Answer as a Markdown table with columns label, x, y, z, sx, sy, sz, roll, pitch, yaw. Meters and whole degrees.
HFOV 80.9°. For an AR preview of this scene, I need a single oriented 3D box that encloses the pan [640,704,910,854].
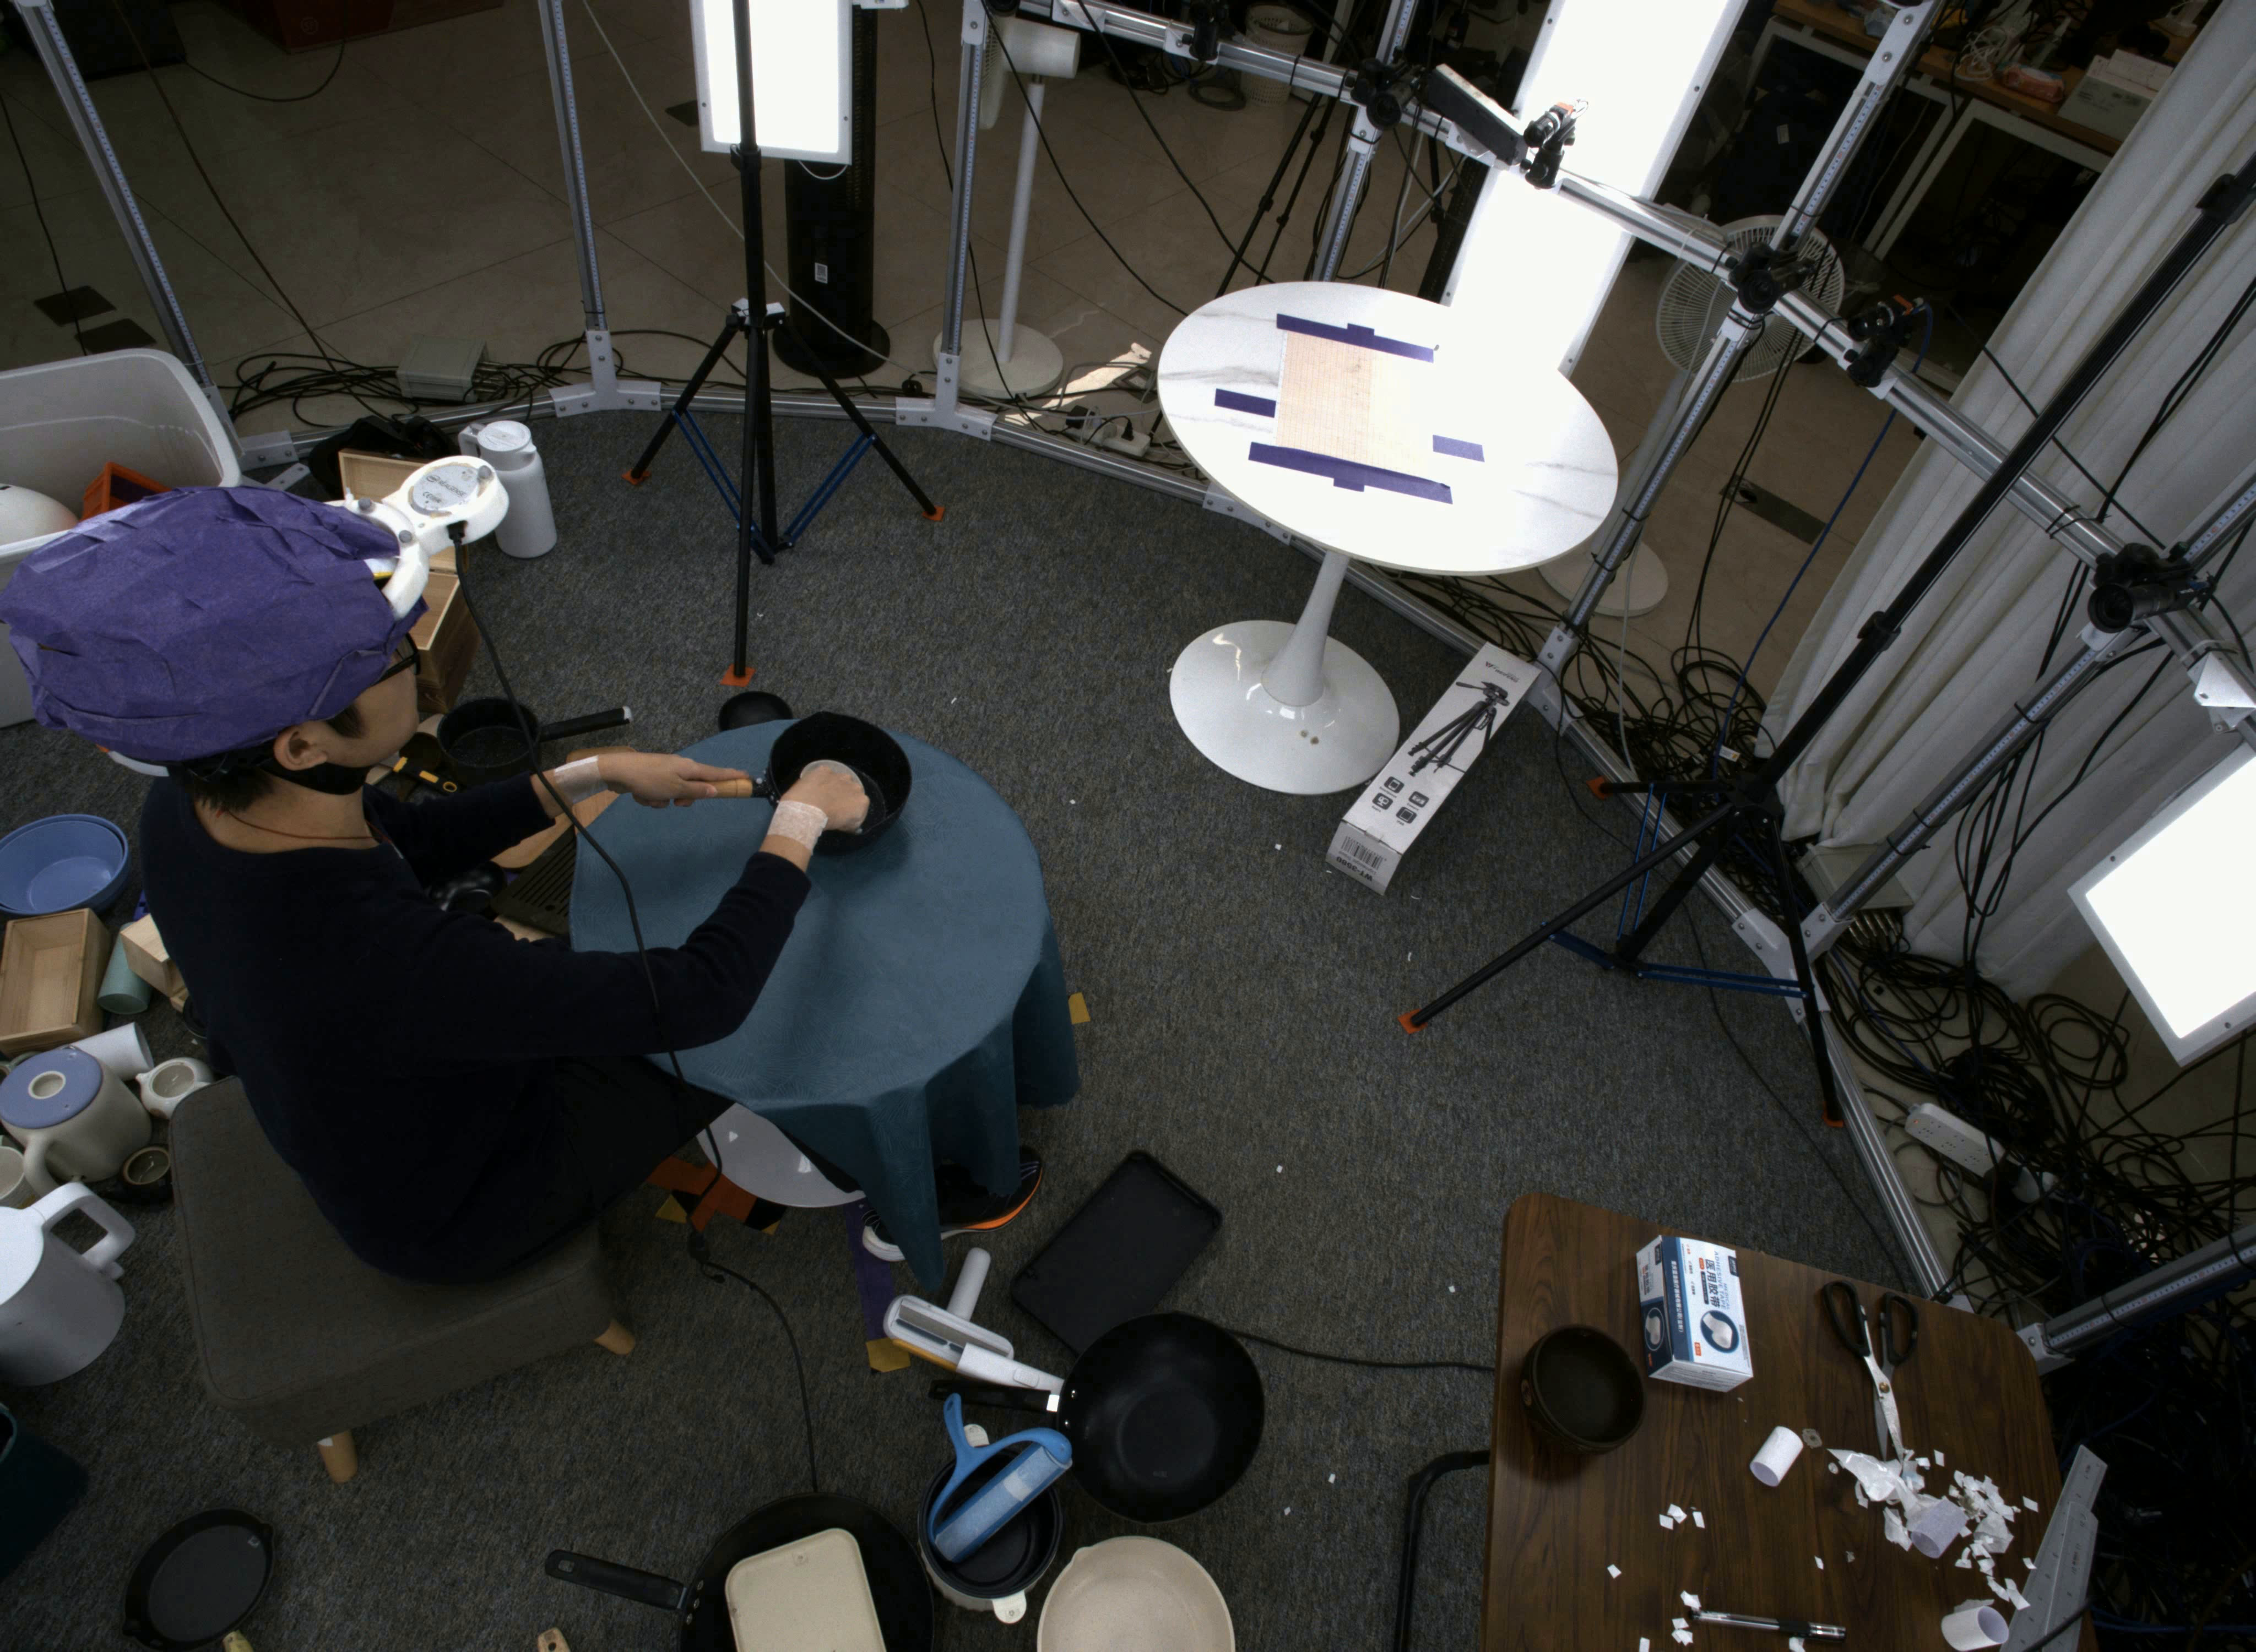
| label | x | y | z | sx | sy | sz | roll | pitch | yaw |
| --- | --- | --- | --- | --- | --- | --- | --- | --- | --- |
| pan | -0.448 | -0.046 | 1.646 | 0.346 | 0.109 | 0.203 | -10 | 63 | -32 |

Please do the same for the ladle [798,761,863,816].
| label | x | y | z | sx | sy | sz | roll | pitch | yaw |
| --- | --- | --- | --- | --- | --- | --- | --- | --- | --- |
| ladle | -0.360 | -0.049 | 1.604 | 0.091 | 0.269 | 0.069 | 30 | 82 | -16 |
